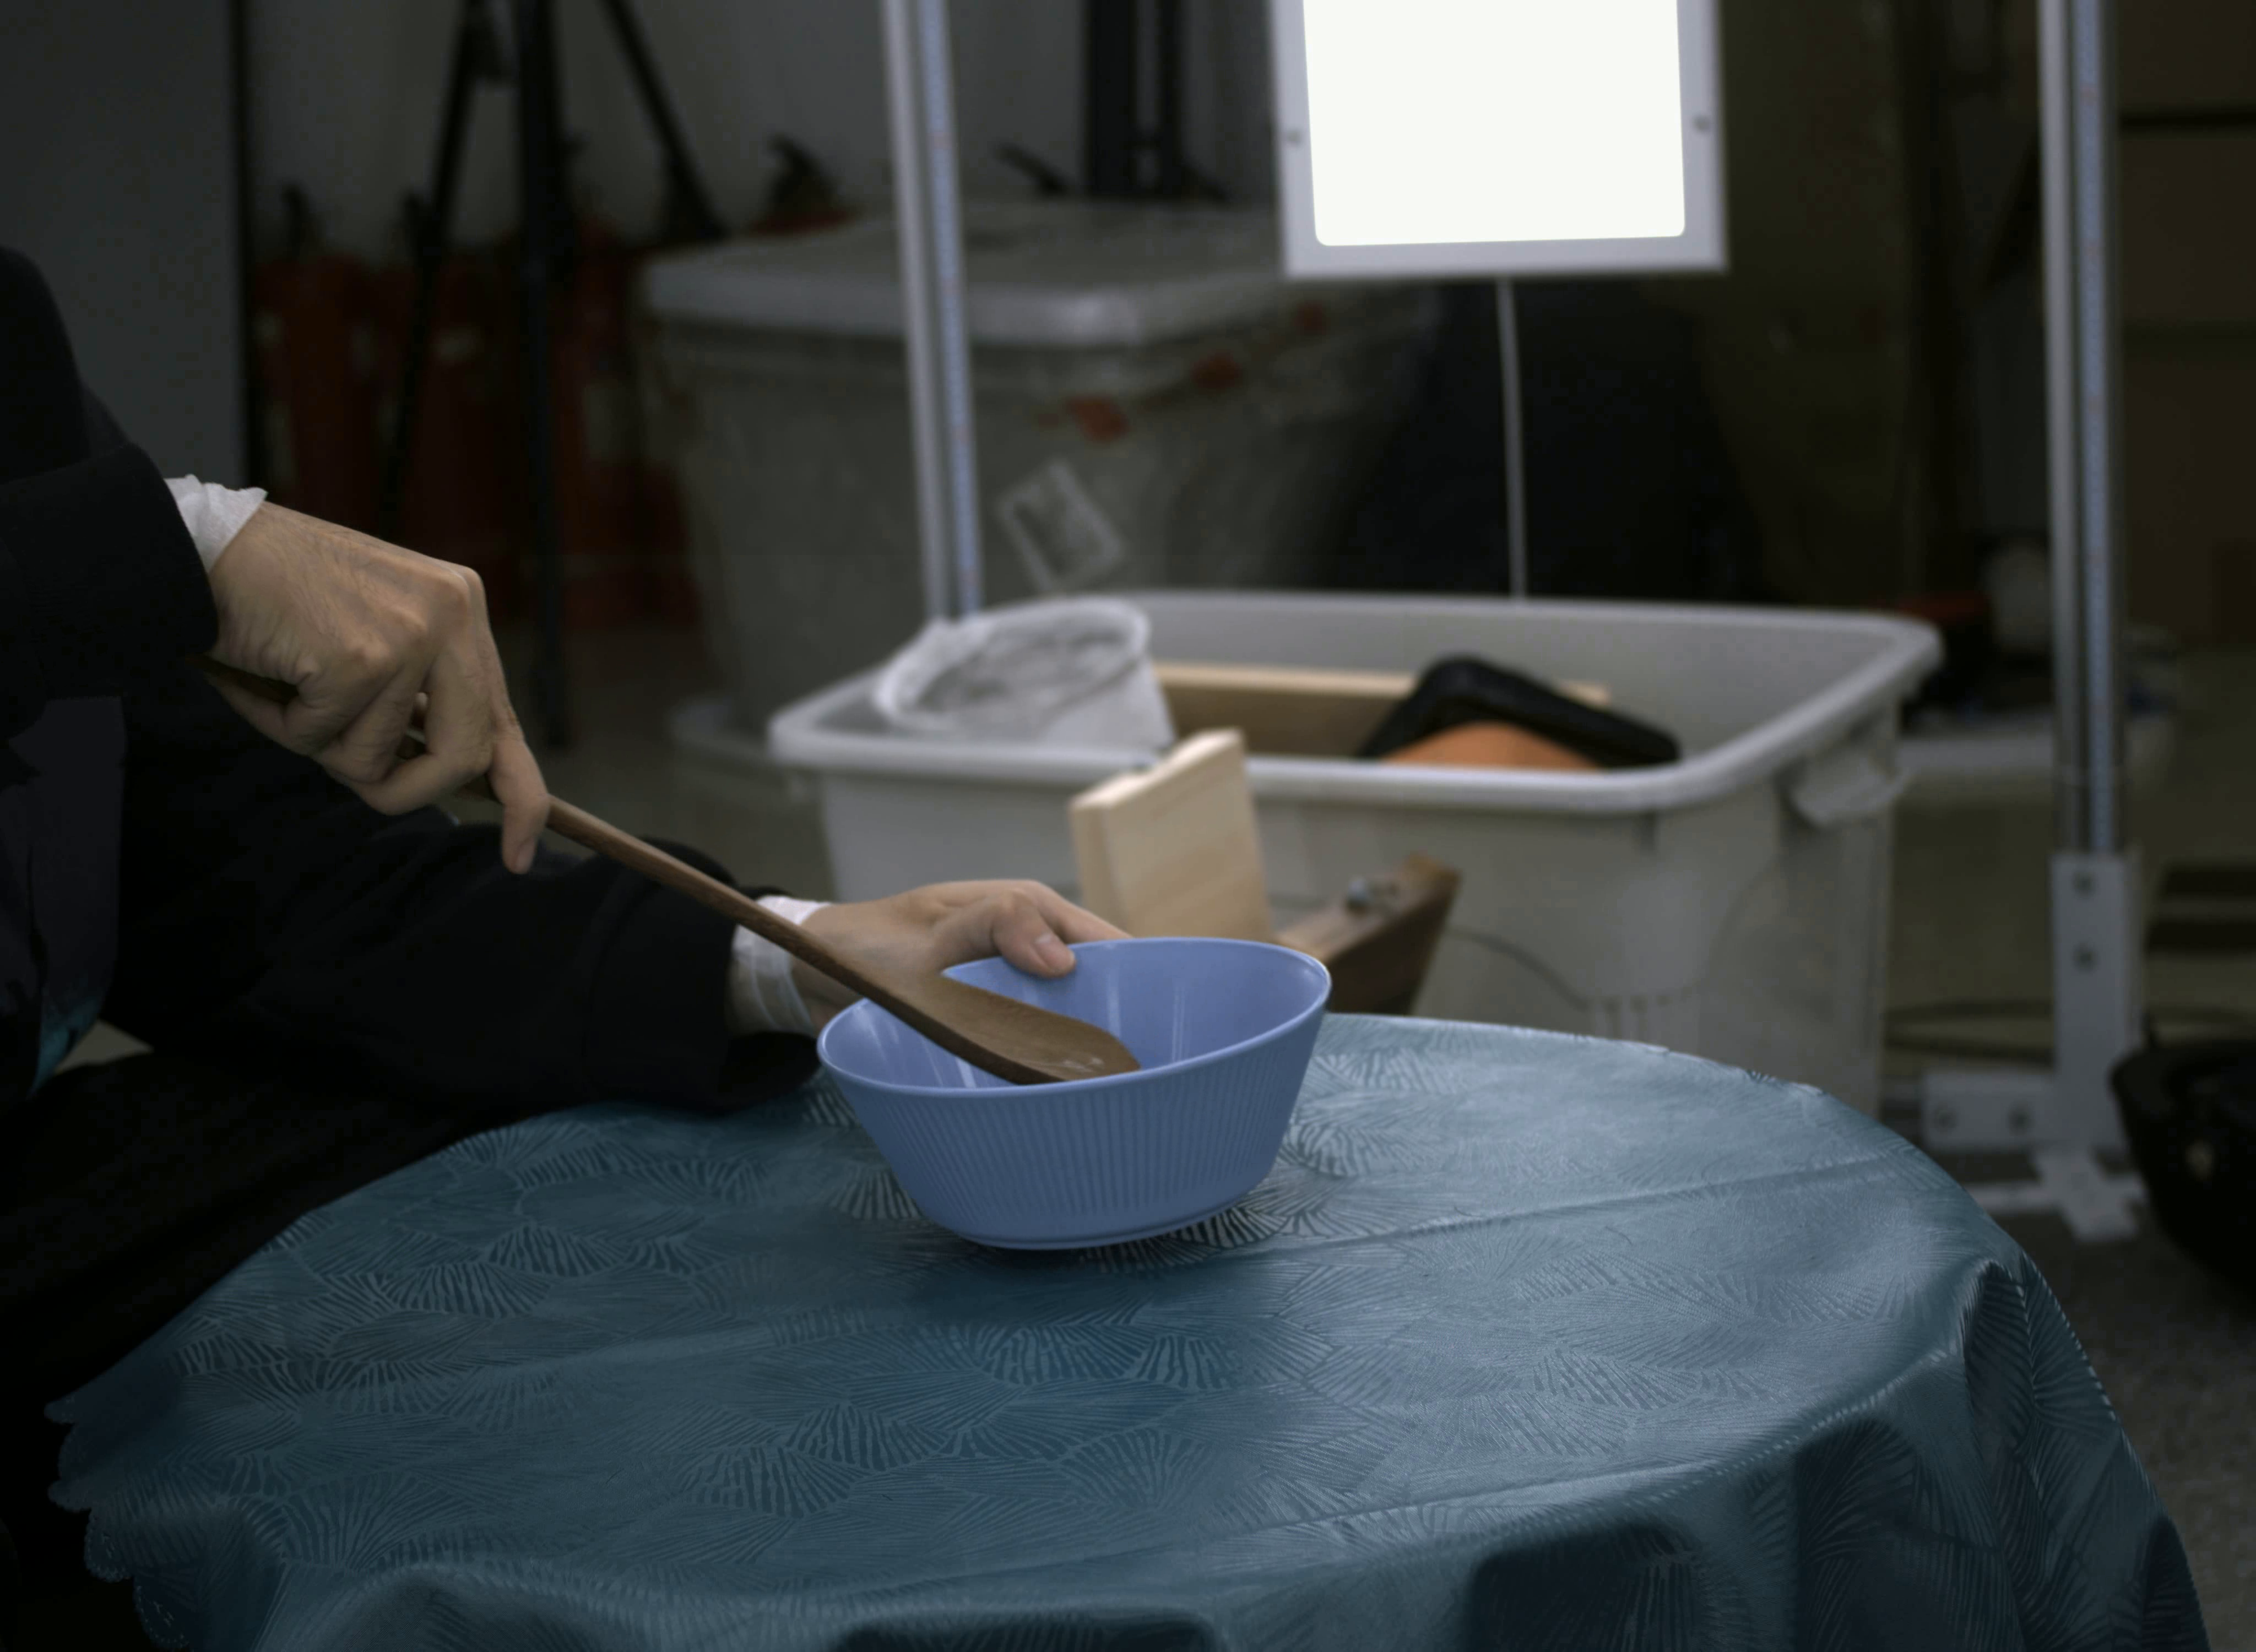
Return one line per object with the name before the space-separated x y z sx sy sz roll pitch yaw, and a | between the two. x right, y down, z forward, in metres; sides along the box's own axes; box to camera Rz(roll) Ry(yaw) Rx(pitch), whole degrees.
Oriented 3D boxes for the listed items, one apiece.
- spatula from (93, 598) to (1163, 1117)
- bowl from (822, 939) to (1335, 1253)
spatula | -0.158 0.009 1.793 0.382 0.016 0.096 26 9 -11
bowl | -0.012 0.094 1.859 0.176 0.070 0.176 -9 13 1
